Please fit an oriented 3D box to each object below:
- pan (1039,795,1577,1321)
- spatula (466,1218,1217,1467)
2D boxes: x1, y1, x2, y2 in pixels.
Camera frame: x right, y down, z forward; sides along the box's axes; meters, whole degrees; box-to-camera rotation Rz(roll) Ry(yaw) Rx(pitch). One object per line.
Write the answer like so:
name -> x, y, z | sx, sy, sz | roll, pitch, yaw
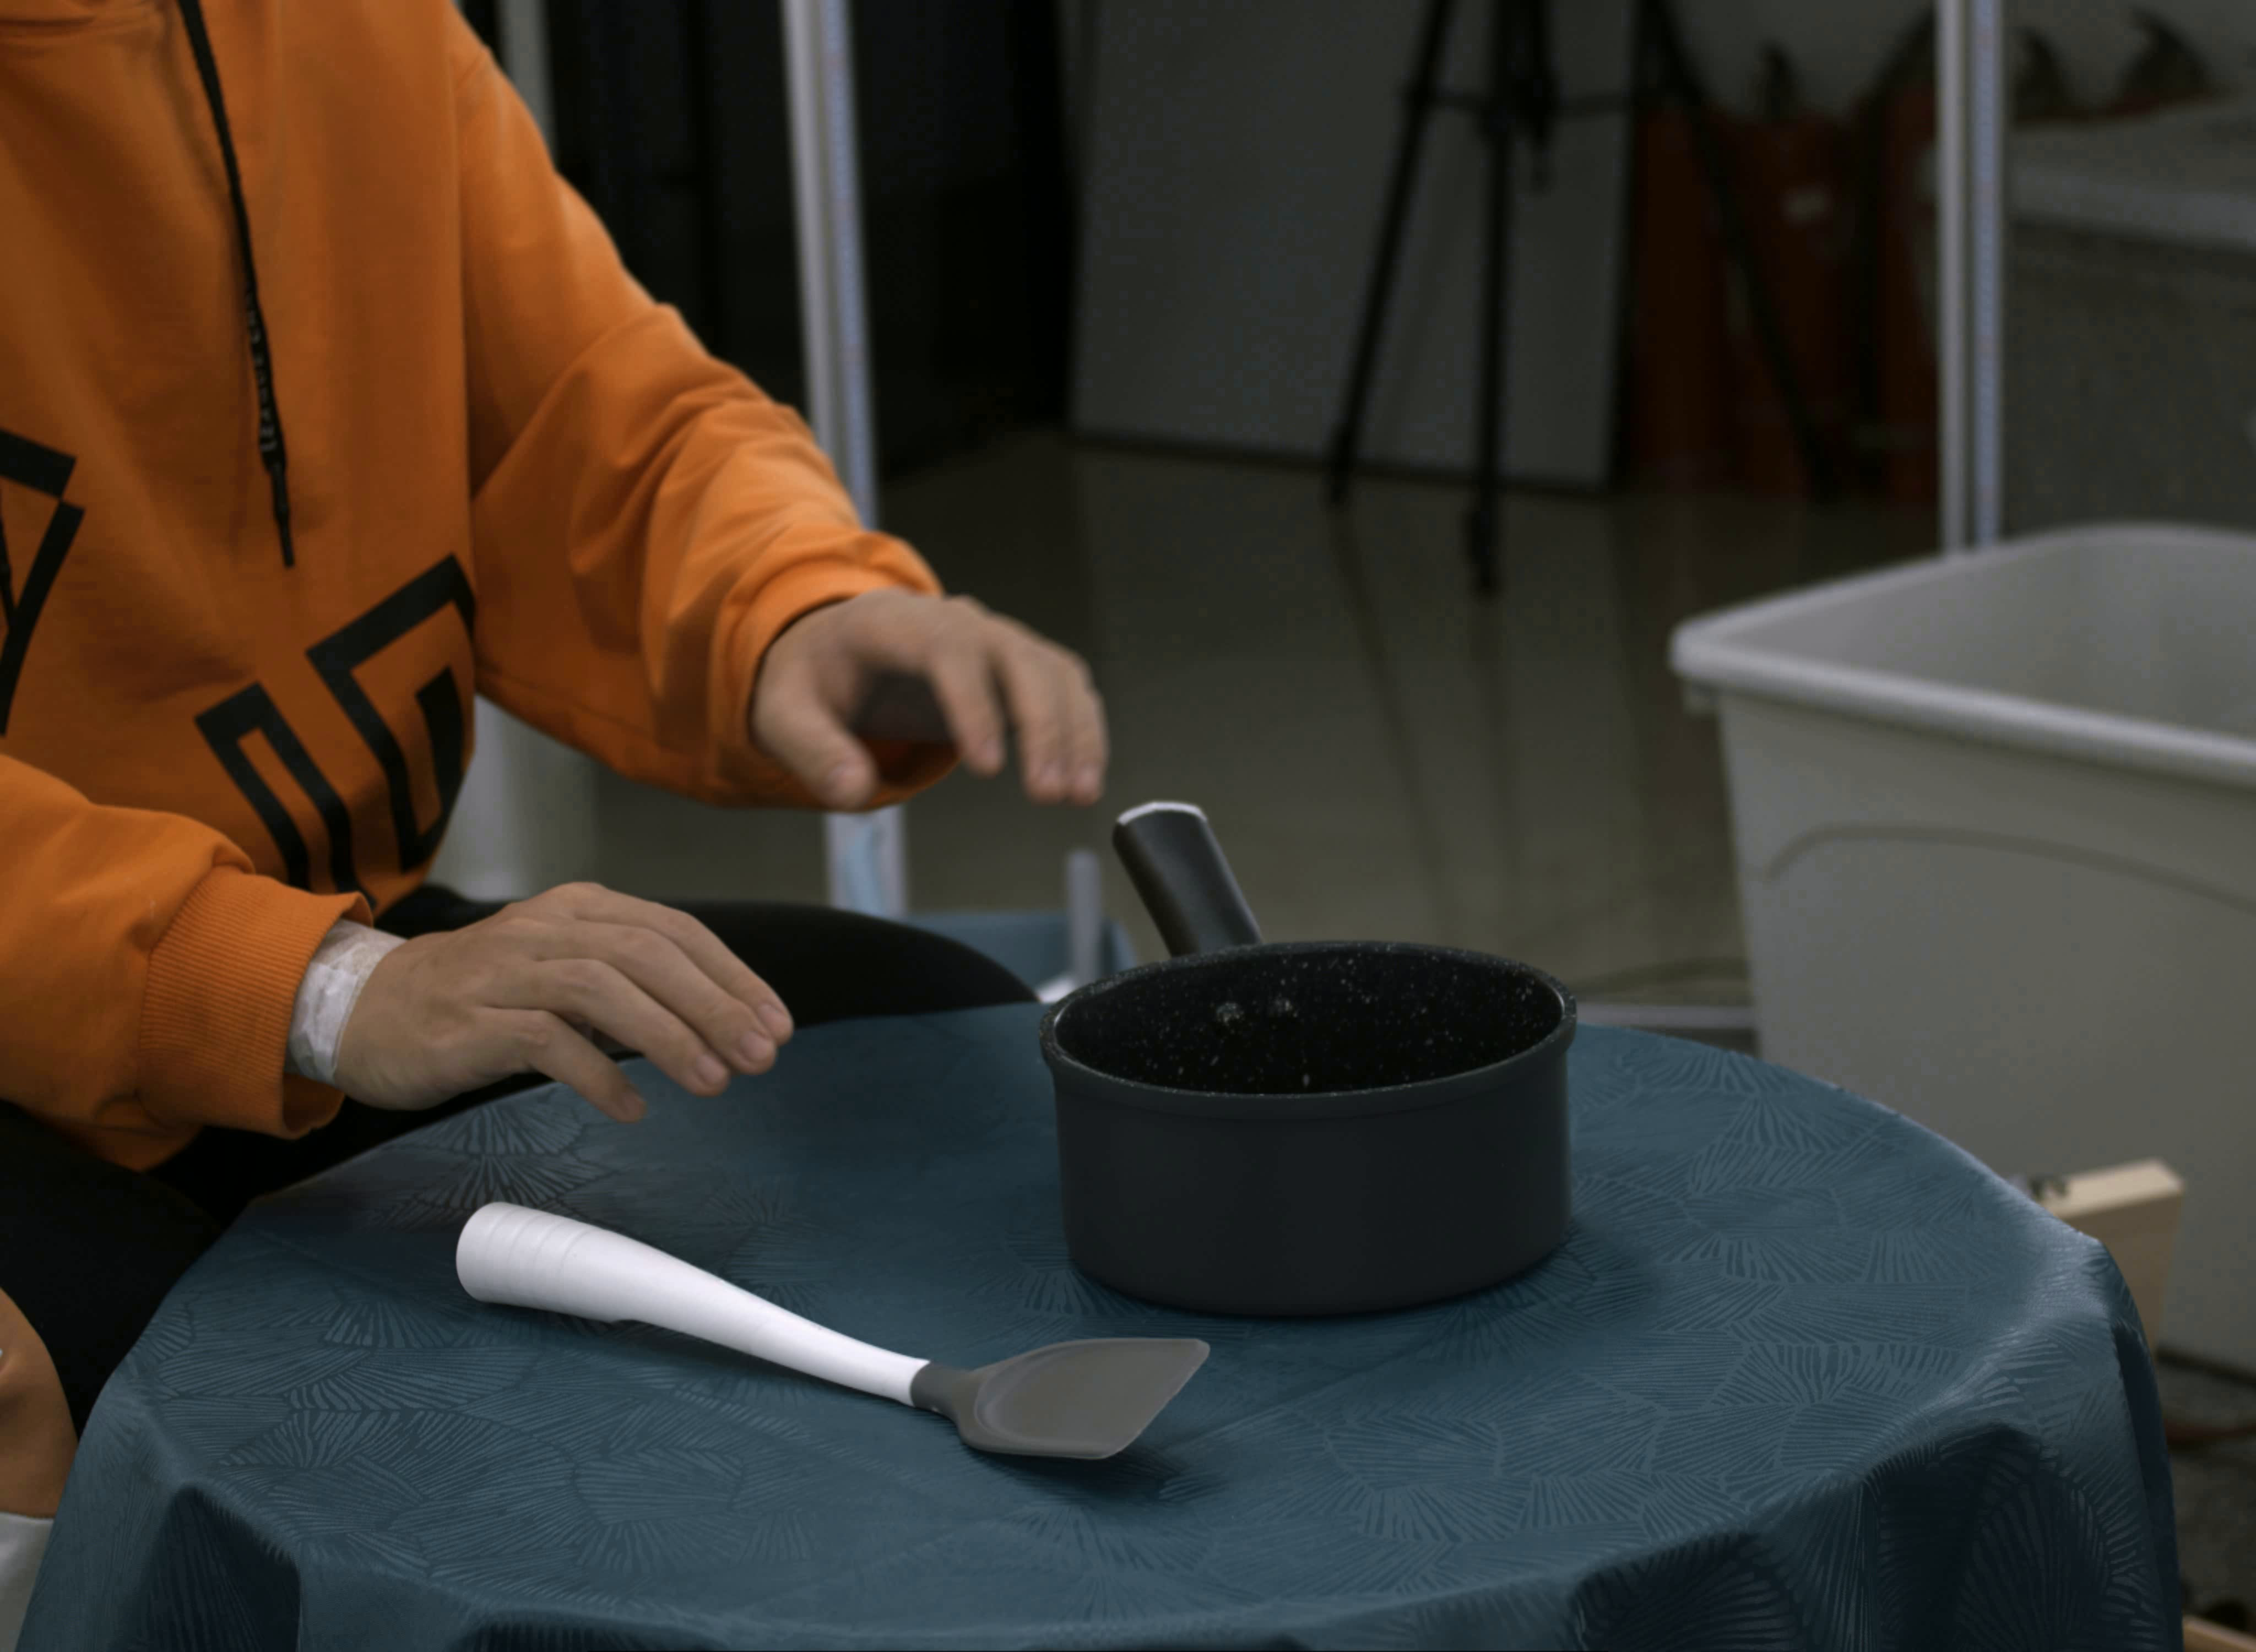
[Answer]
pan -> 0.046, 0.073, 1.776 | 0.169, 0.087, 0.330 | -5, 15, -7
spatula -> -0.089, 0.153, 1.603 | 0.290, 0.032, 0.058 | 8, 38, 42
